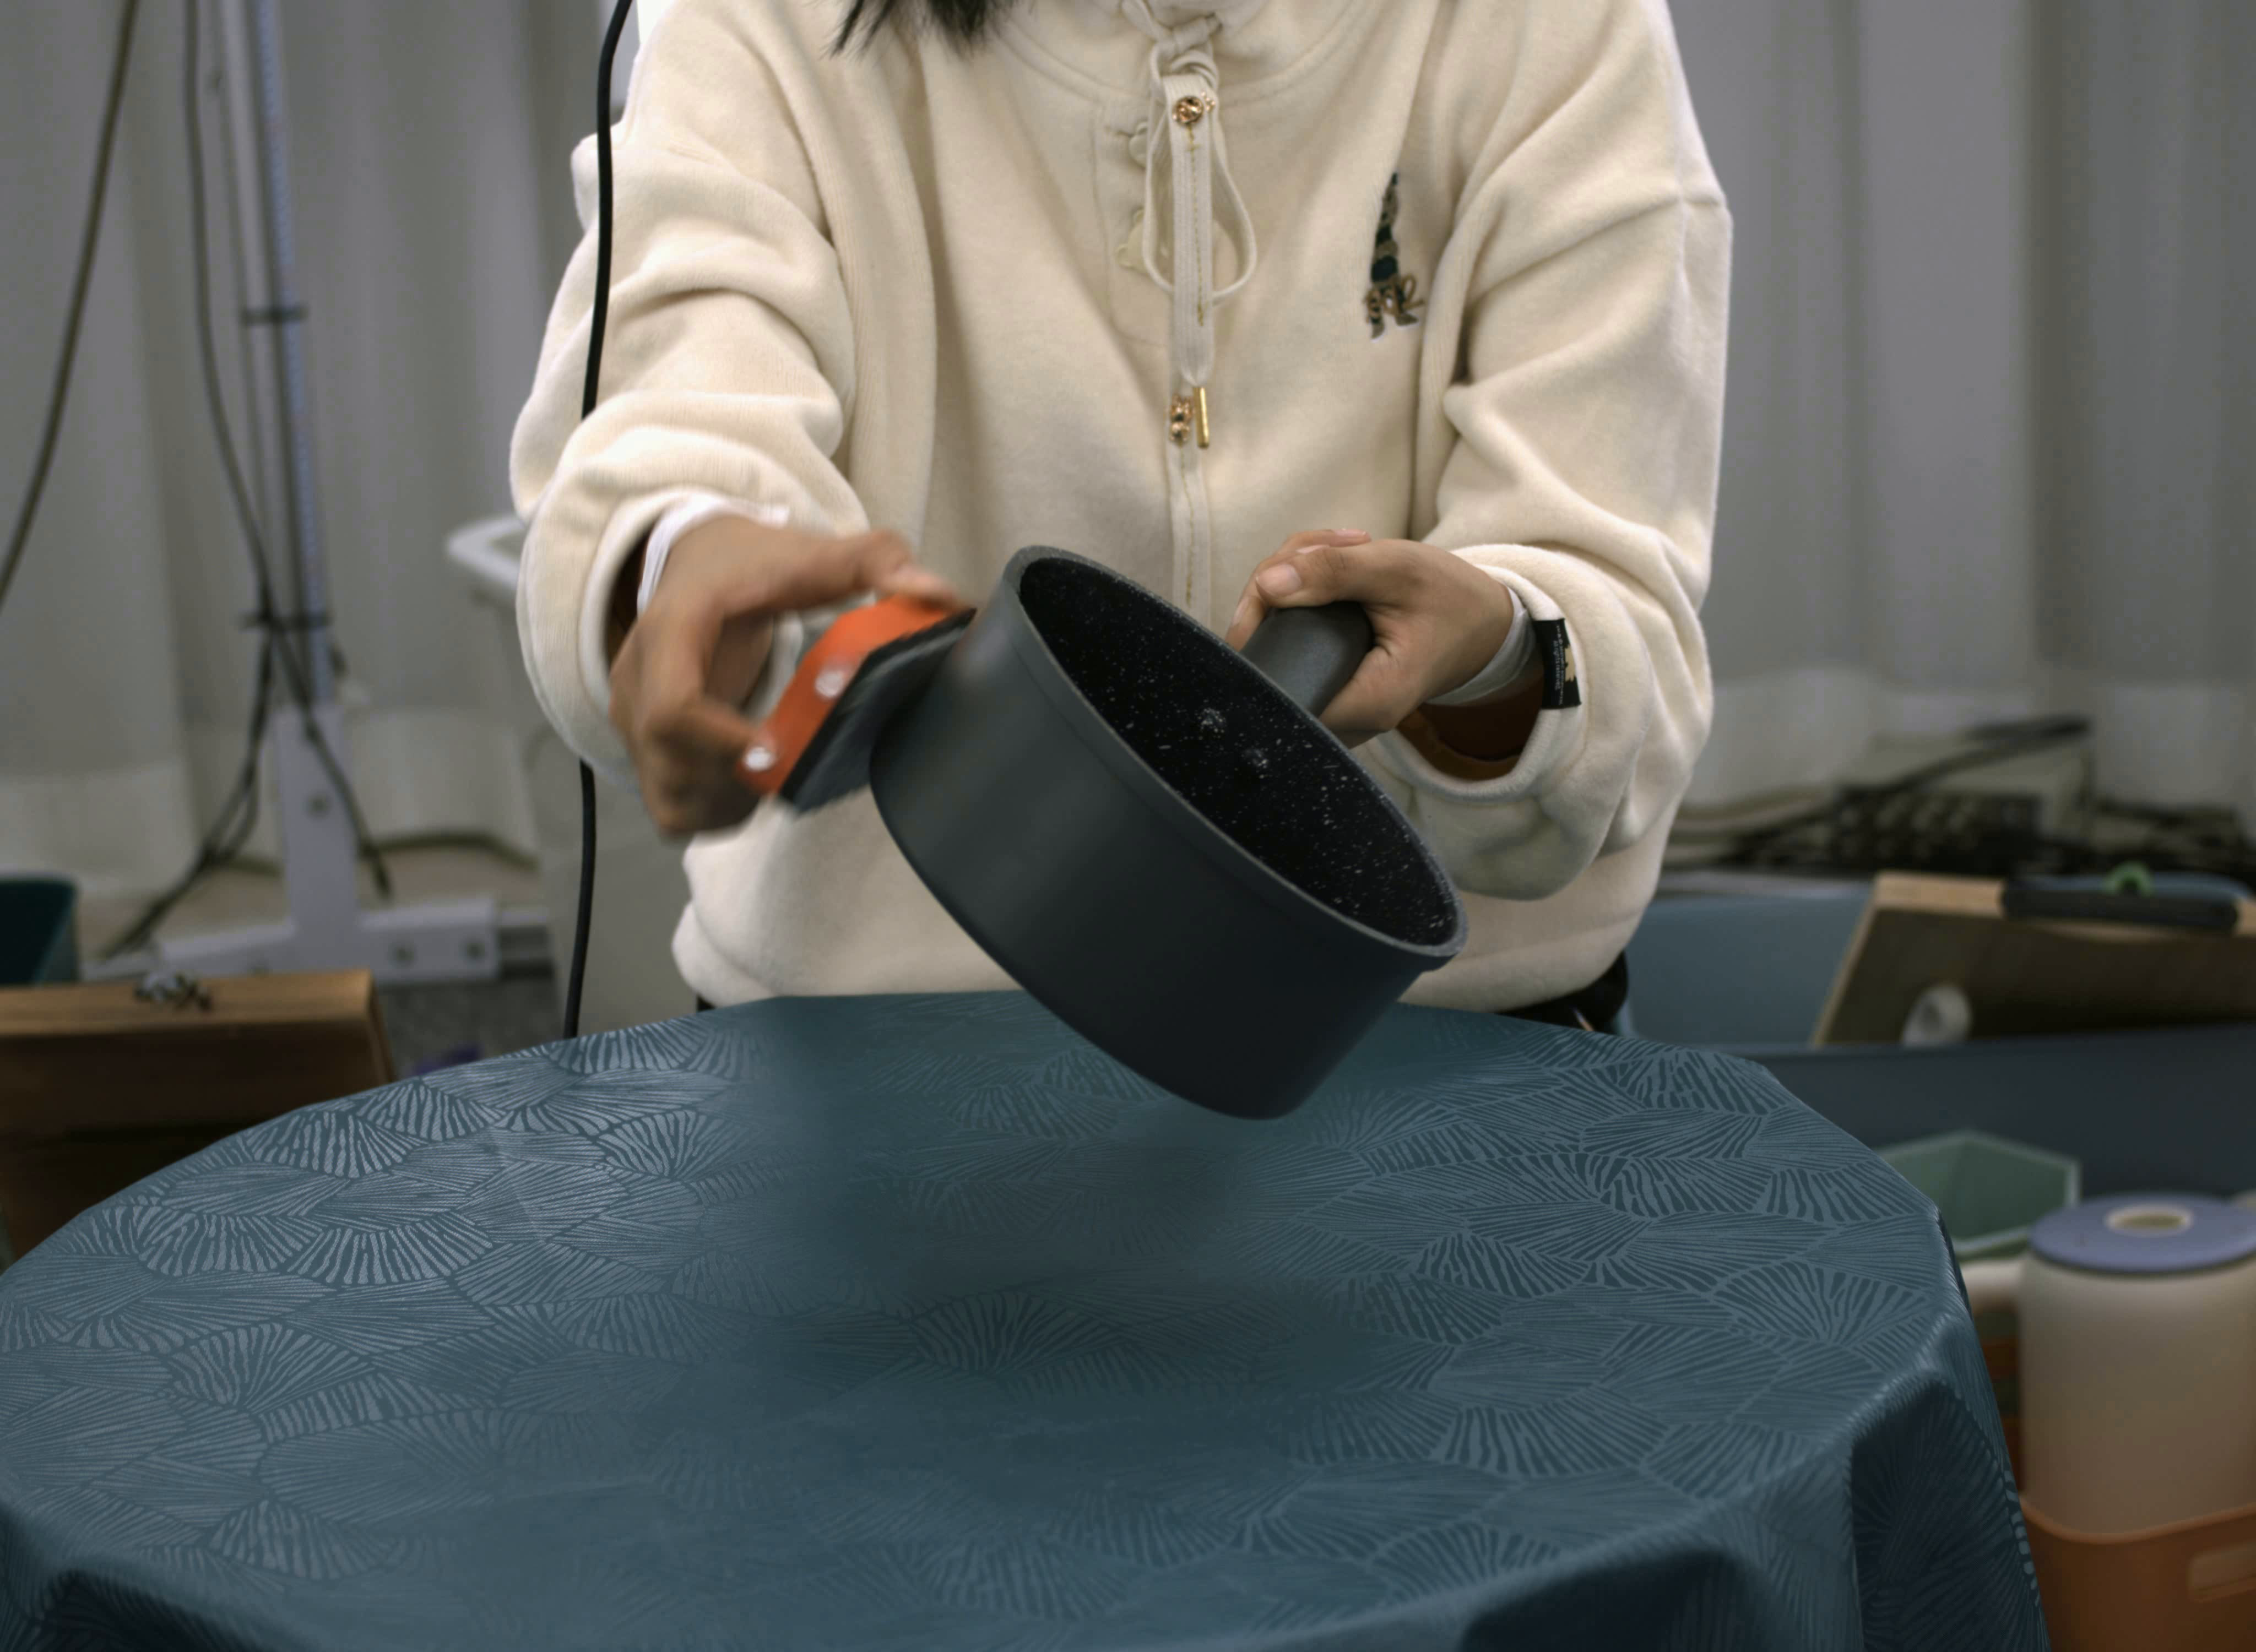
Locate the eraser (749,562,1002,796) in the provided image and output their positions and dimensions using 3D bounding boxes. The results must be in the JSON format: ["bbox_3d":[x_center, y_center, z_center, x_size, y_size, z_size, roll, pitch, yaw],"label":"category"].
[{"bbox_3d":[-0.073,-0.044,1.595,0.023,0.059,0.108,35,15,8],"label":"eraser"}]

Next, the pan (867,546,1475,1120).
[{"bbox_3d":[0.027,-0.014,1.651,0.172,0.086,0.330,42,17,2],"label":"pan"}]
